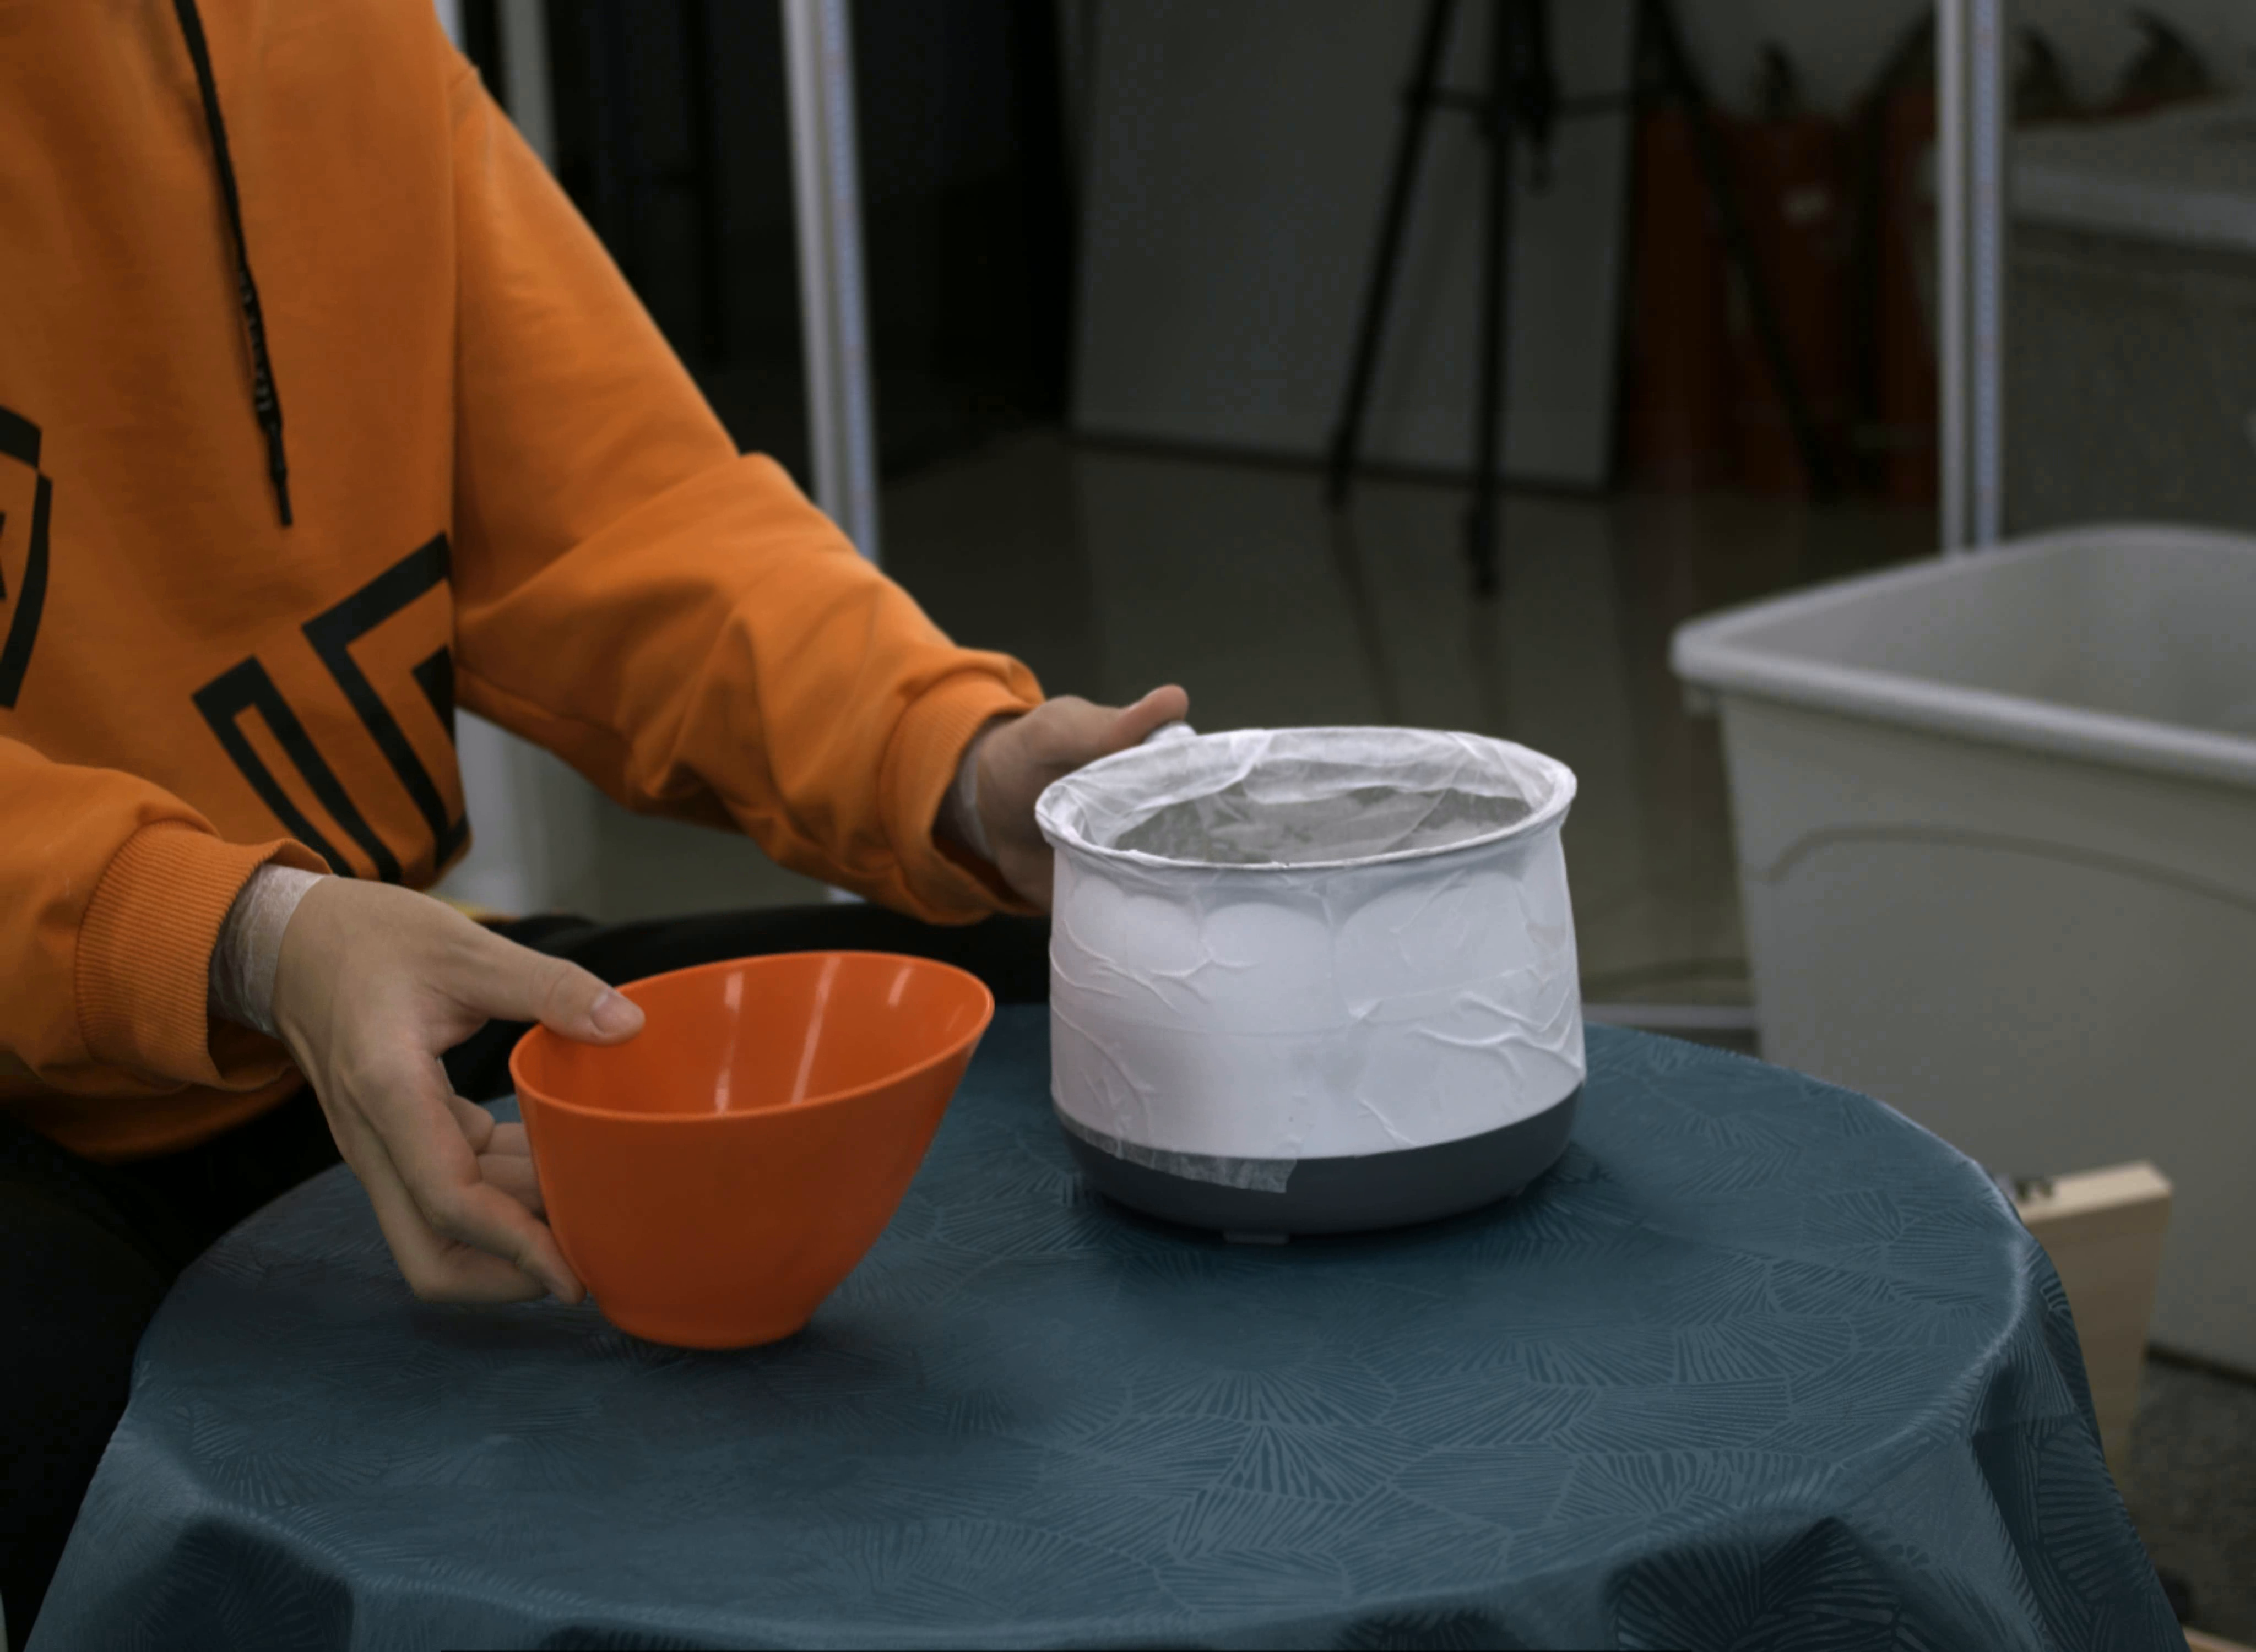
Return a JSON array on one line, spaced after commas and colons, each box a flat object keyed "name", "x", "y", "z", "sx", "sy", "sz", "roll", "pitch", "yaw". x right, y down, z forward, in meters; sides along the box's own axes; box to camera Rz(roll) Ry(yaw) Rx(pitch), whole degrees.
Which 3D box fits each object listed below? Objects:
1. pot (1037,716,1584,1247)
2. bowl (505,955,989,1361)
[{"name": "pot", "x": 0.048, "y": 0.044, "z": 1.779, "sx": 0.175, "sy": 0.138, "sz": 0.236, "roll": -10, "pitch": 15, "yaw": -24}, {"name": "bowl", "x": -0.115, "y": 0.102, "z": 1.640, "sx": 0.146, "sy": 0.106, "sz": 0.148, "roll": 0, "pitch": 16, "yaw": -1}]
